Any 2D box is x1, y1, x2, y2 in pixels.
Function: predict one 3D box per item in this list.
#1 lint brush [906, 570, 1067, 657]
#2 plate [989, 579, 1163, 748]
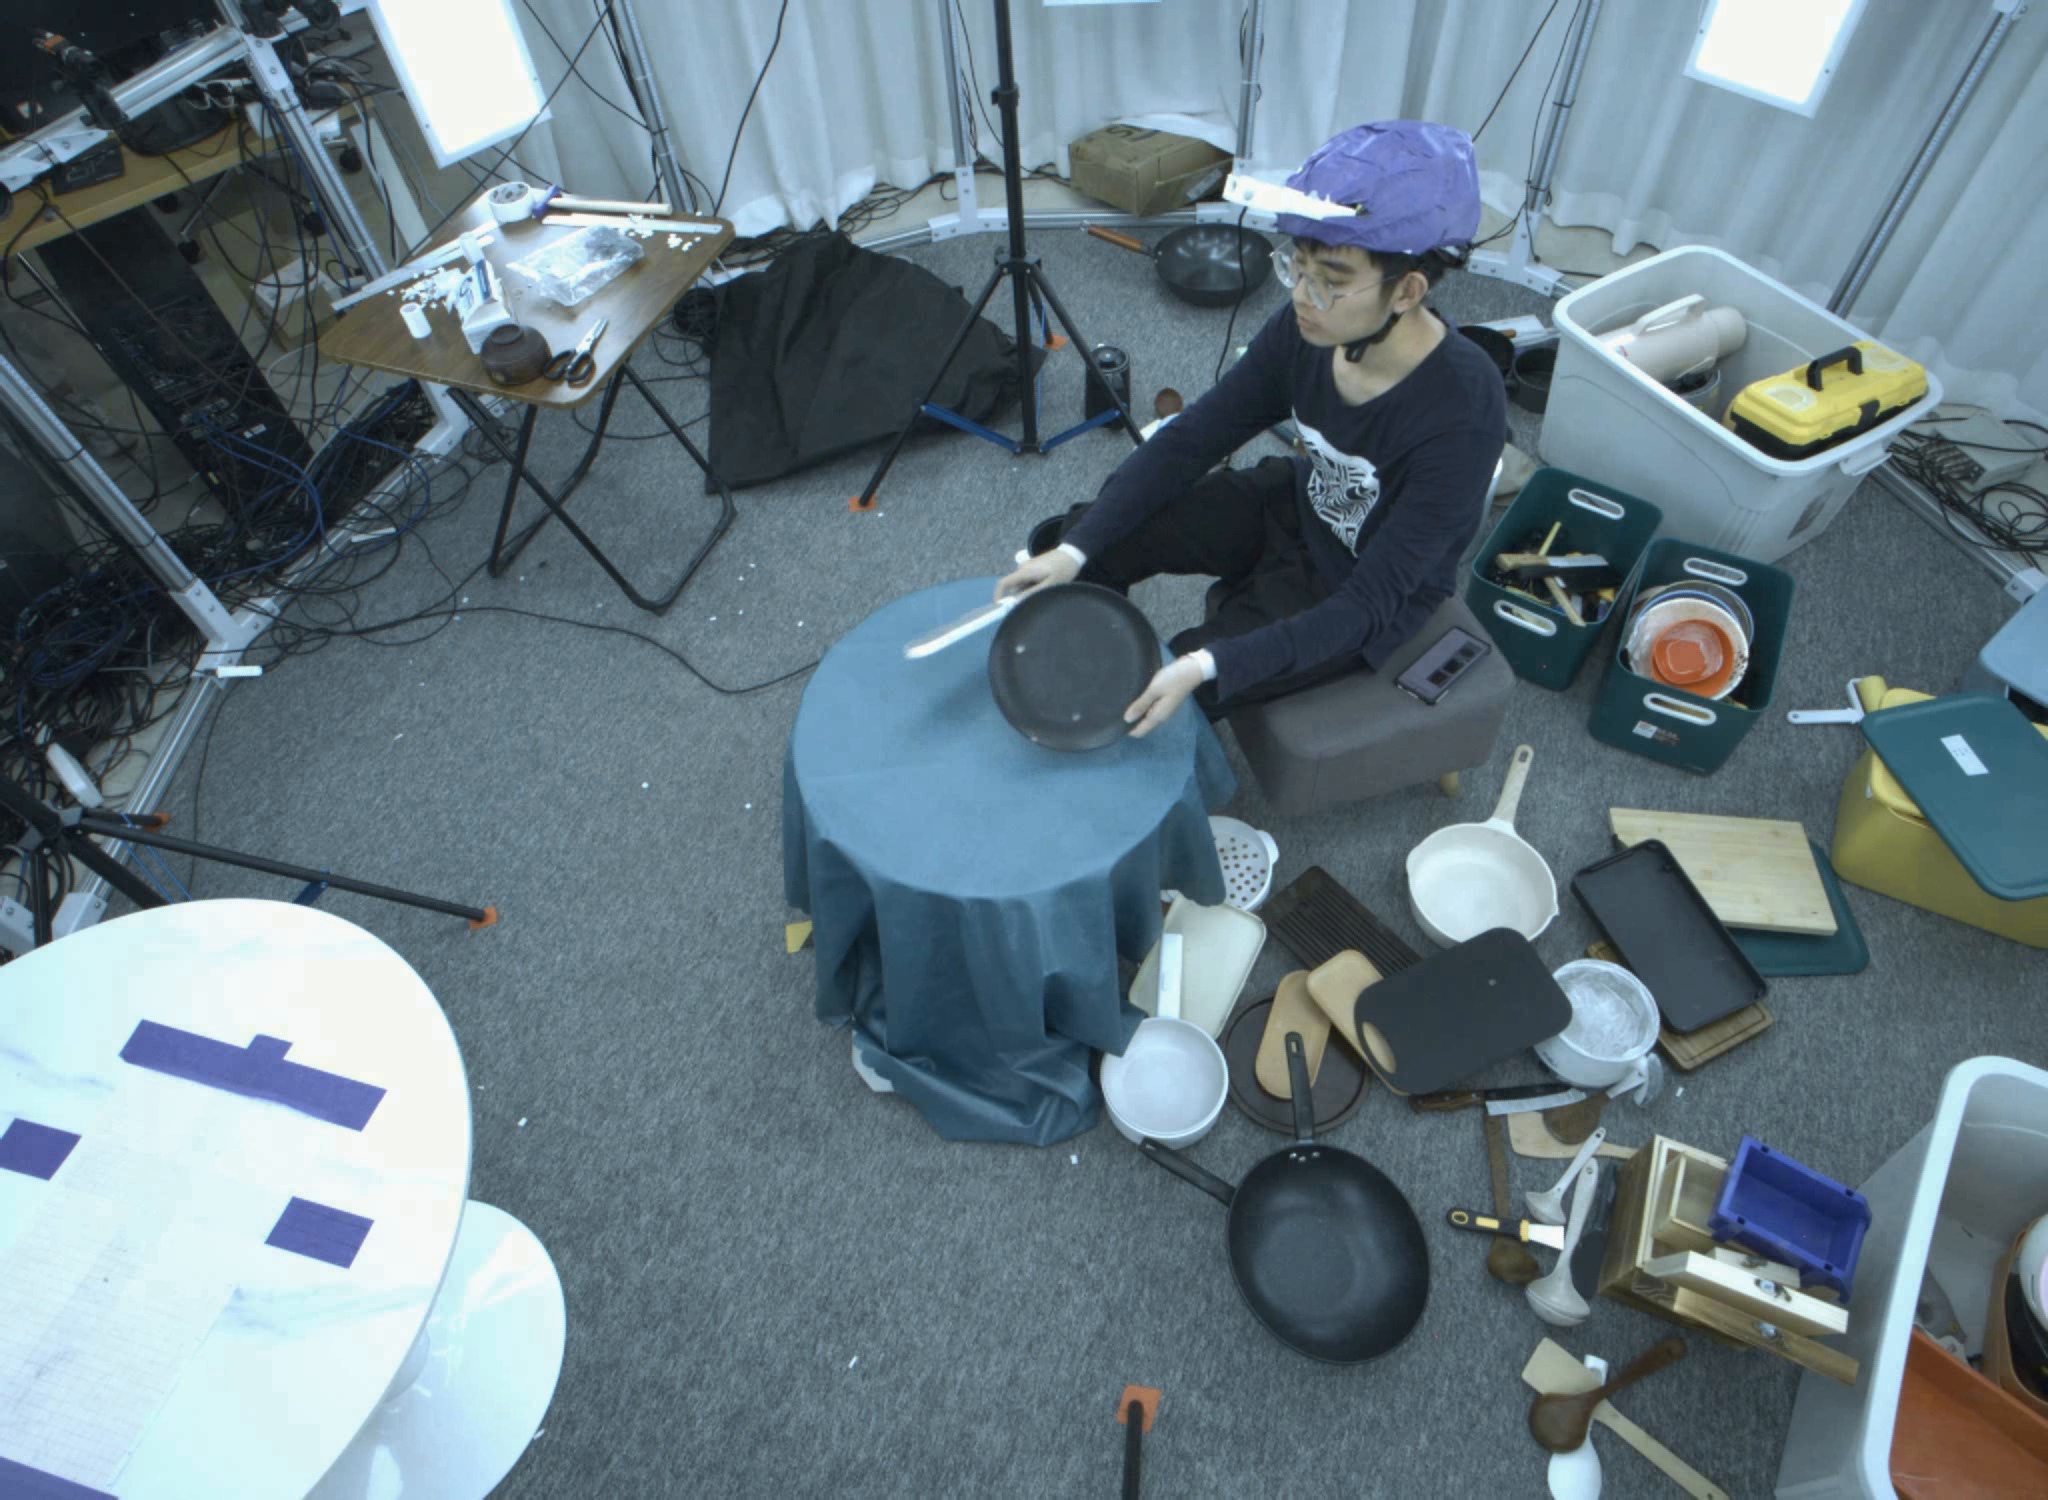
[{"bbox_3d":[-0.050,-0.206,1.832,0.312,0.021,0.059,-32,20,-32],"label":"lint brush"},{"bbox_3d":[0.072,-0.121,1.731,0.245,0.246,0.023,-5,19,-2],"label":"plate"}]
